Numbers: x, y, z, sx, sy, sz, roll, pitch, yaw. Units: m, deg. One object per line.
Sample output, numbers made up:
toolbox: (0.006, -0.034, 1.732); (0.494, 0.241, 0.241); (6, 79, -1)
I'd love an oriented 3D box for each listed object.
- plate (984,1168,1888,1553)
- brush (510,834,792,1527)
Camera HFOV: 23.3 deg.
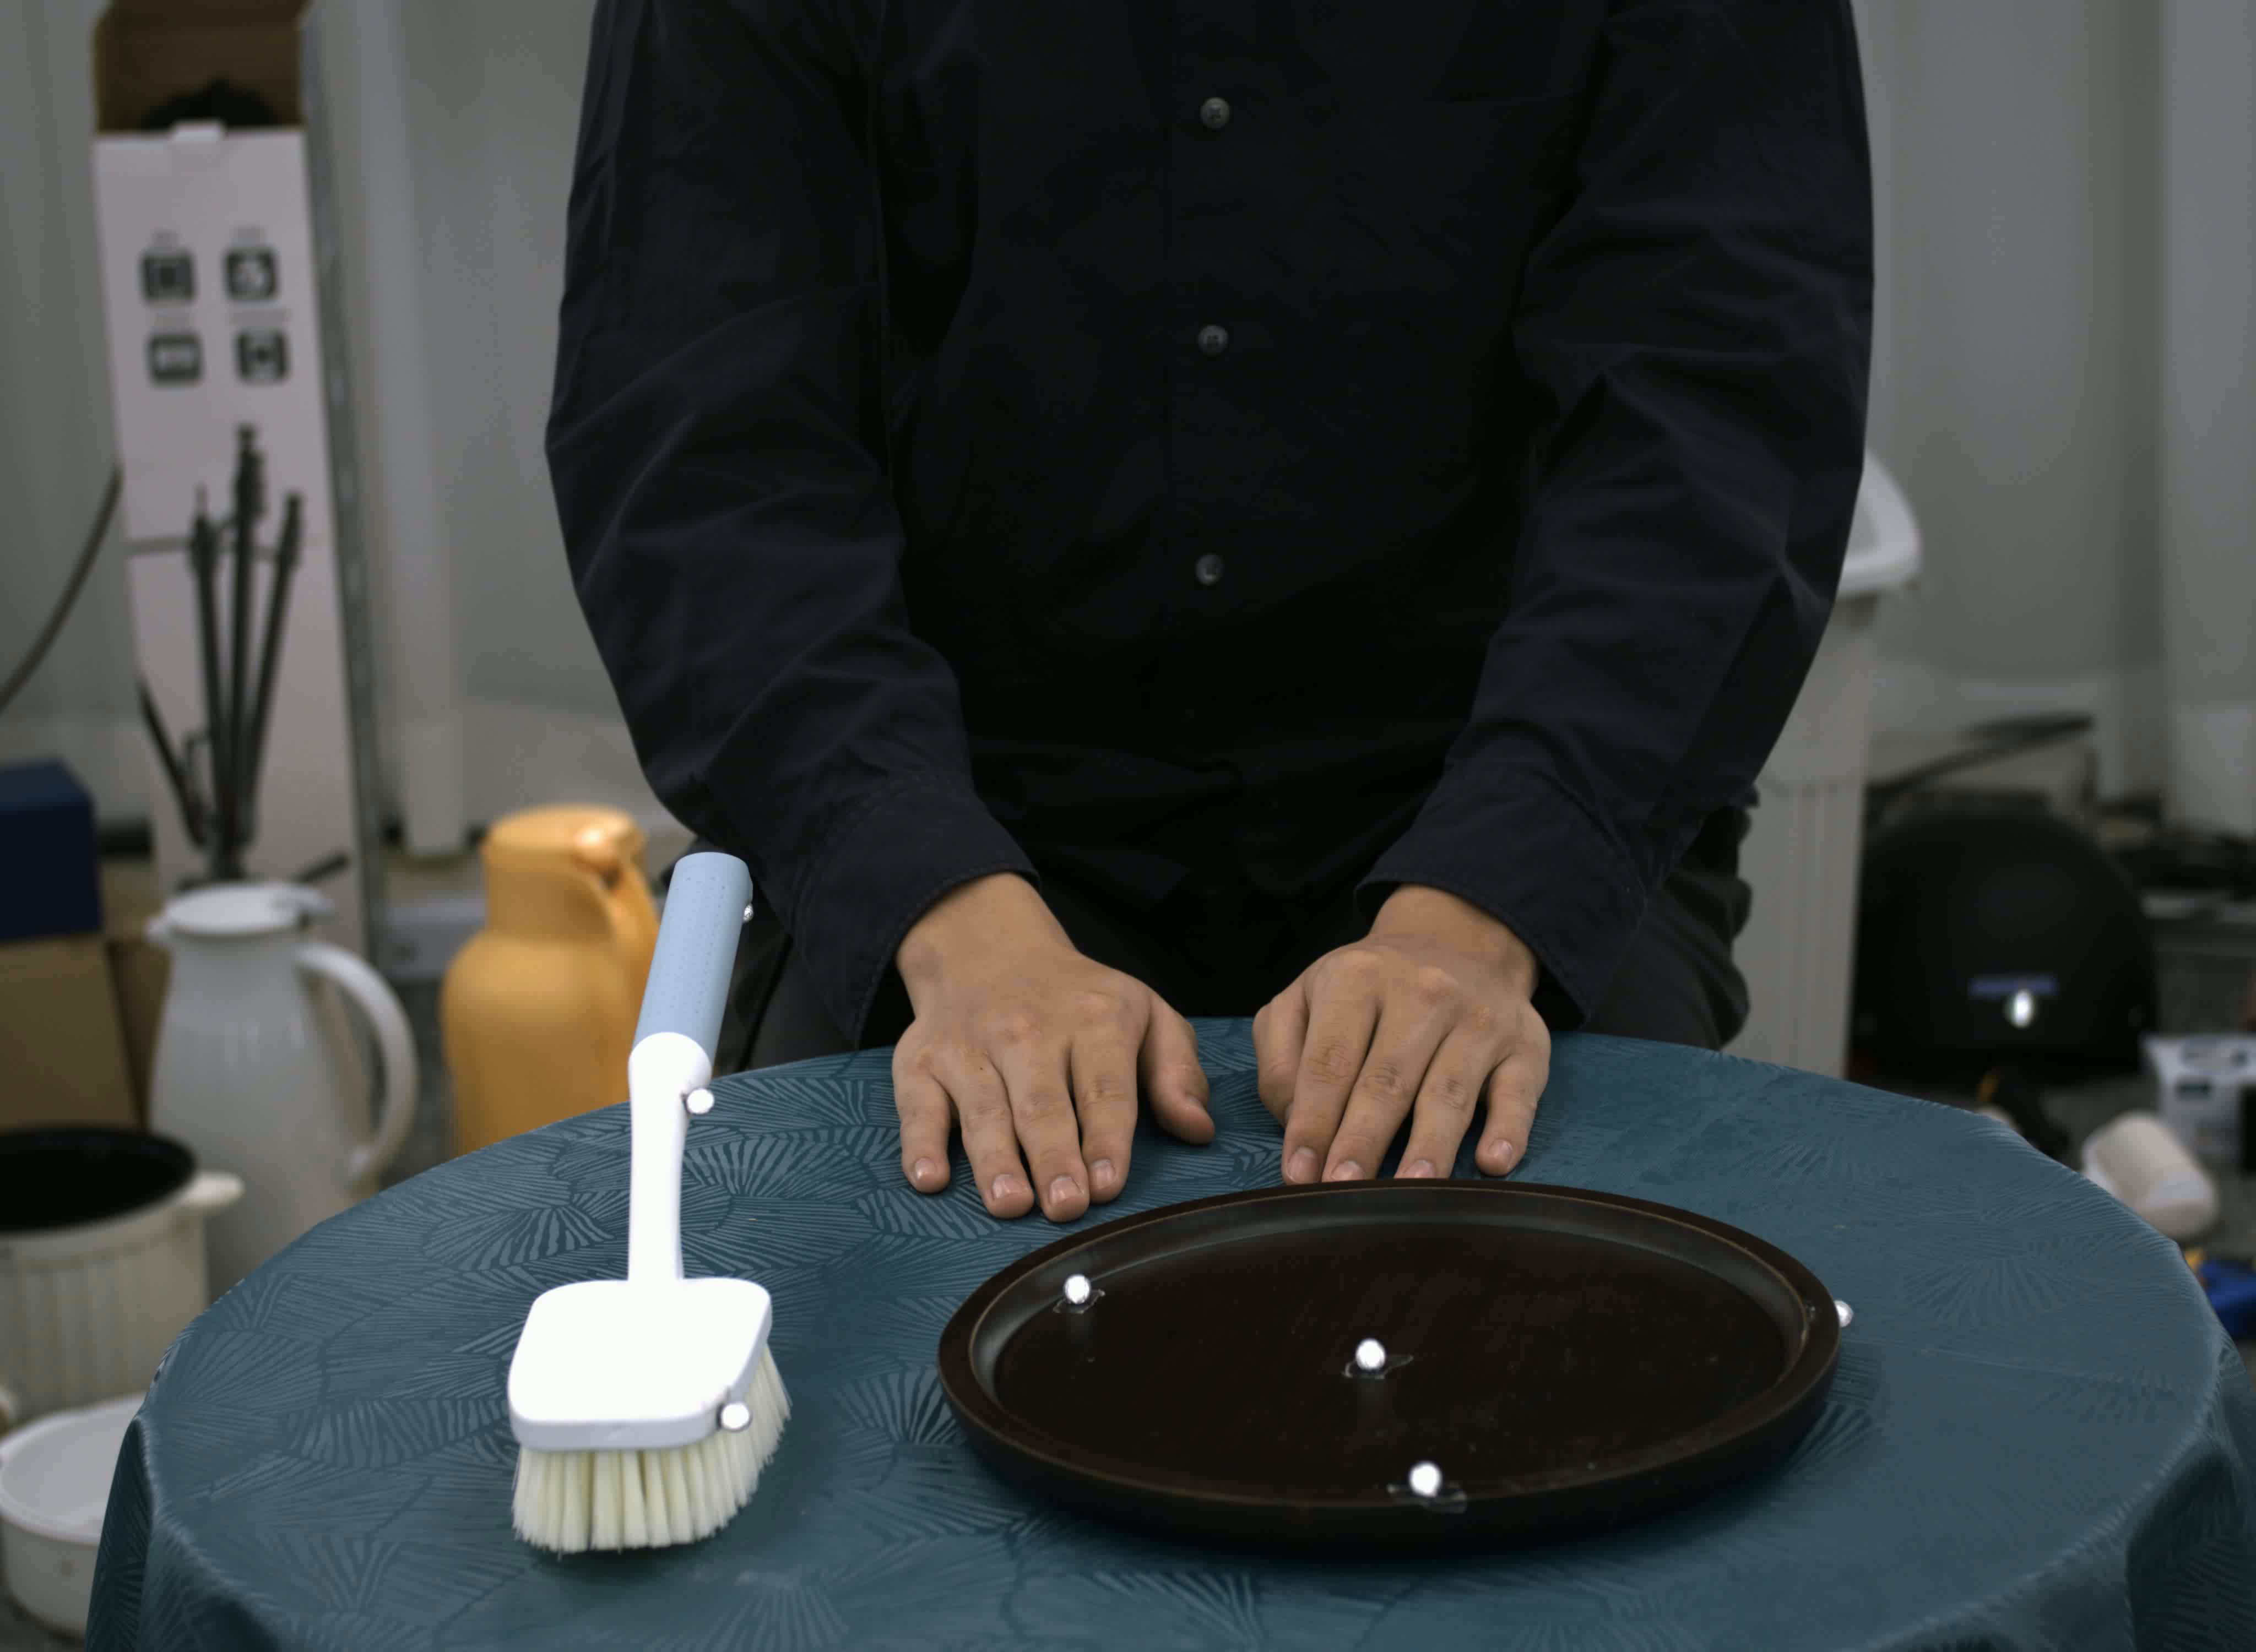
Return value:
plate: (0.086, 0.147, 1.532); (0.254, 0.029, 0.256); (-5, 15, 1)
brush: (-0.126, 0.114, 1.587); (0.082, 0.084, 0.329); (31, 24, -13)
